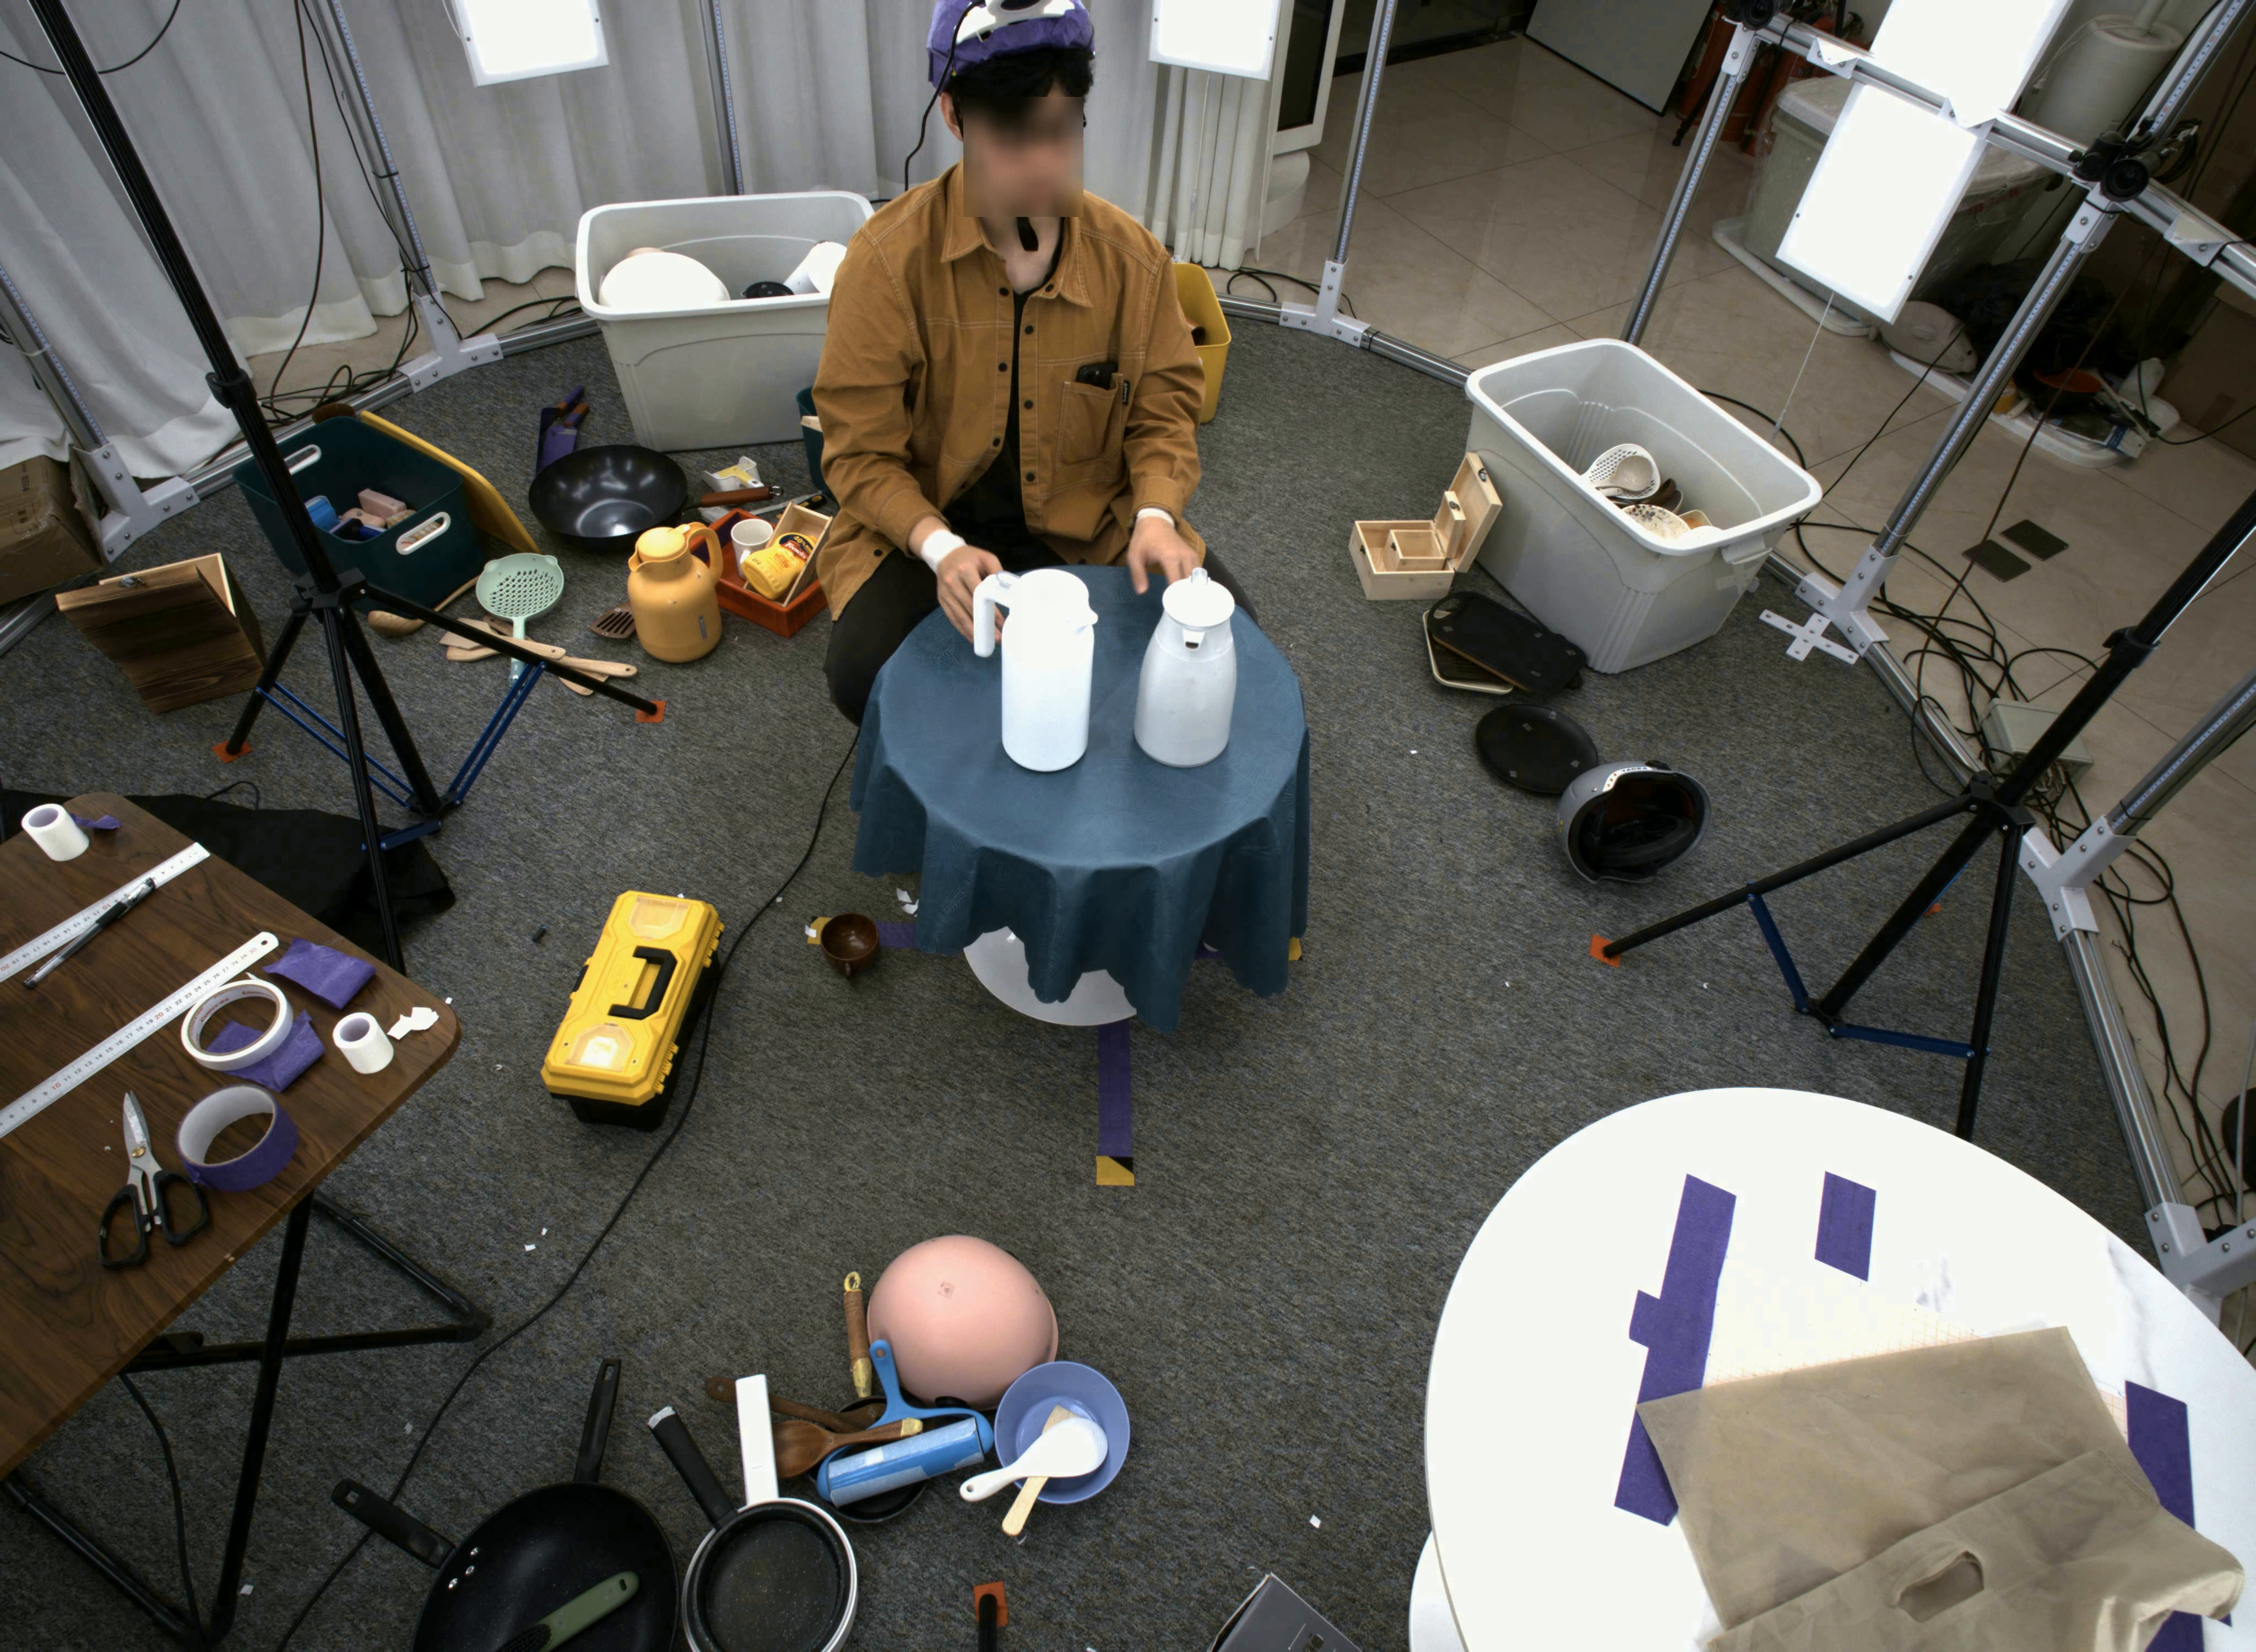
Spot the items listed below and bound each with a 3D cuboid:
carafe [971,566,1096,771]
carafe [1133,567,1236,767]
[{"bbox_3d":[-0.122,-0.204,1.667,0.174,0.262,0.126,24,54,17],"label":"carafe"},{"bbox_3d":[0.082,-0.223,1.707,0.132,0.242,0.172,7,48,2],"label":"carafe"}]
